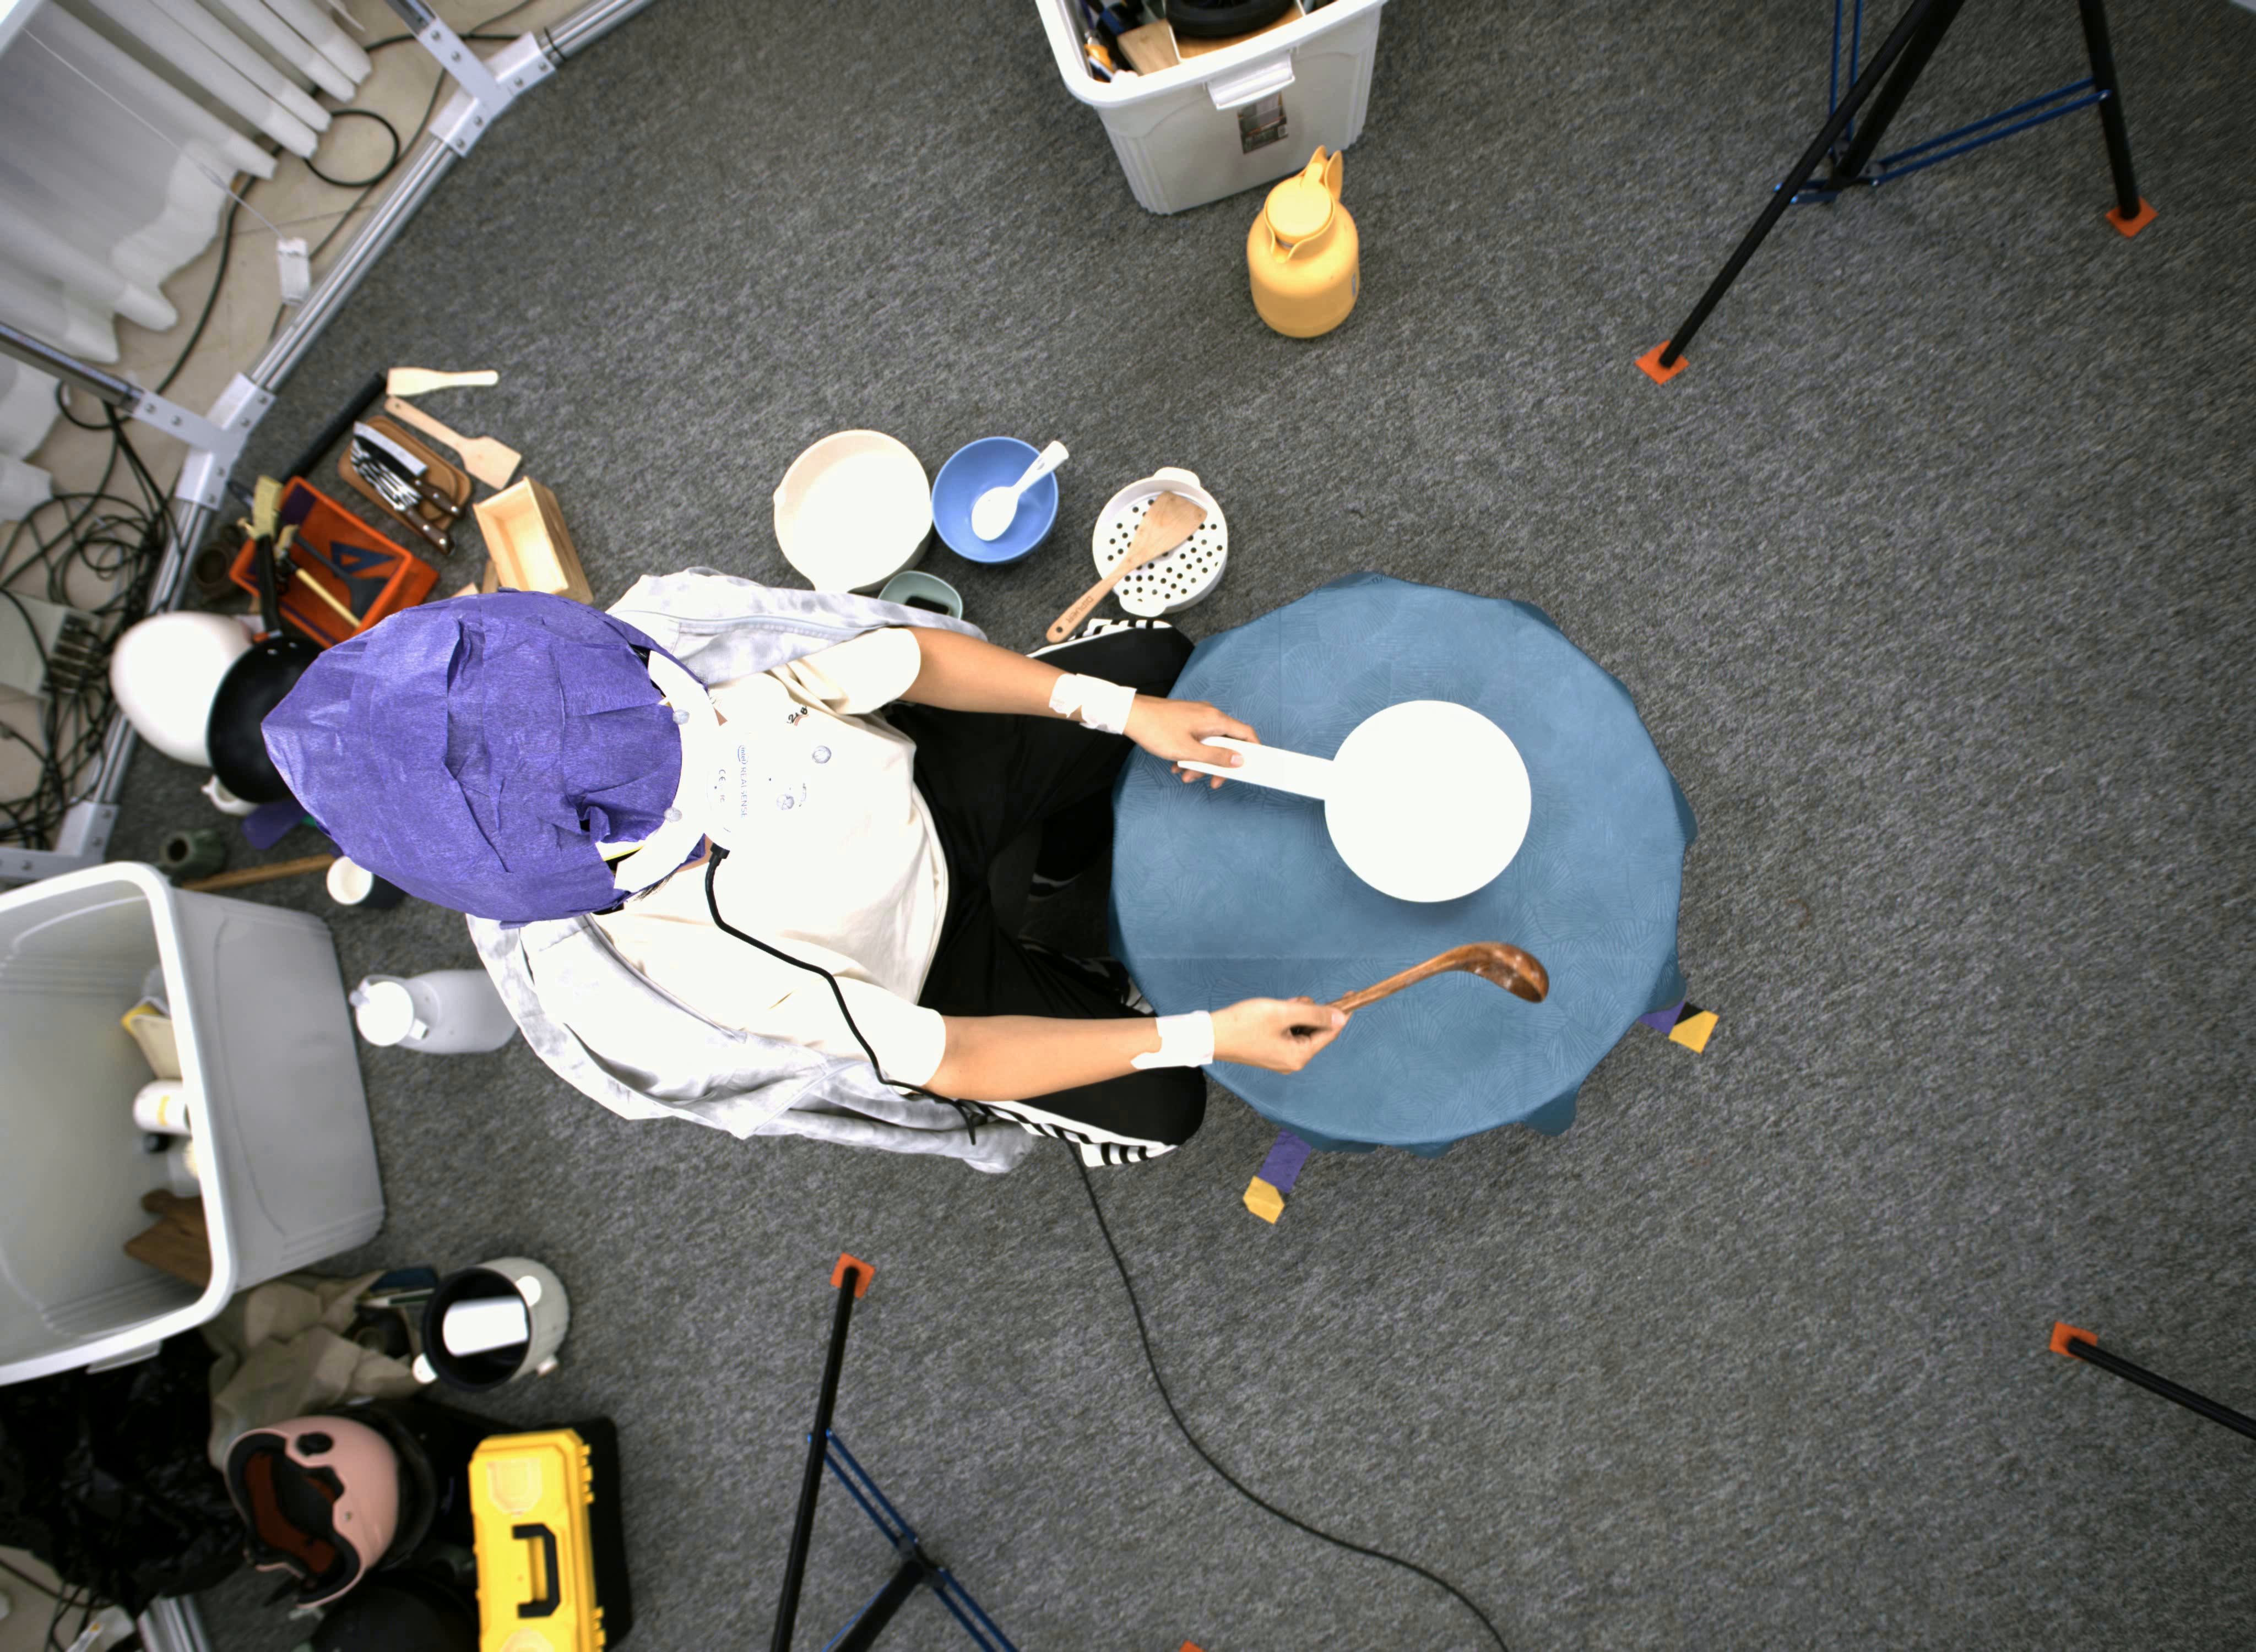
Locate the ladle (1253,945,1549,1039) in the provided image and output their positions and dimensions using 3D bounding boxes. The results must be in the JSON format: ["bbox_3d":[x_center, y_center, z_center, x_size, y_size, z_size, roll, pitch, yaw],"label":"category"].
[{"bbox_3d":[0.258,0.176,1.298,0.274,0.083,0.075,-20,67,1],"label":"ladle"}]

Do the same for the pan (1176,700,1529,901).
[{"bbox_3d":[0.228,-0.041,1.421,0.355,0.102,0.201,14,89,12],"label":"pan"}]
